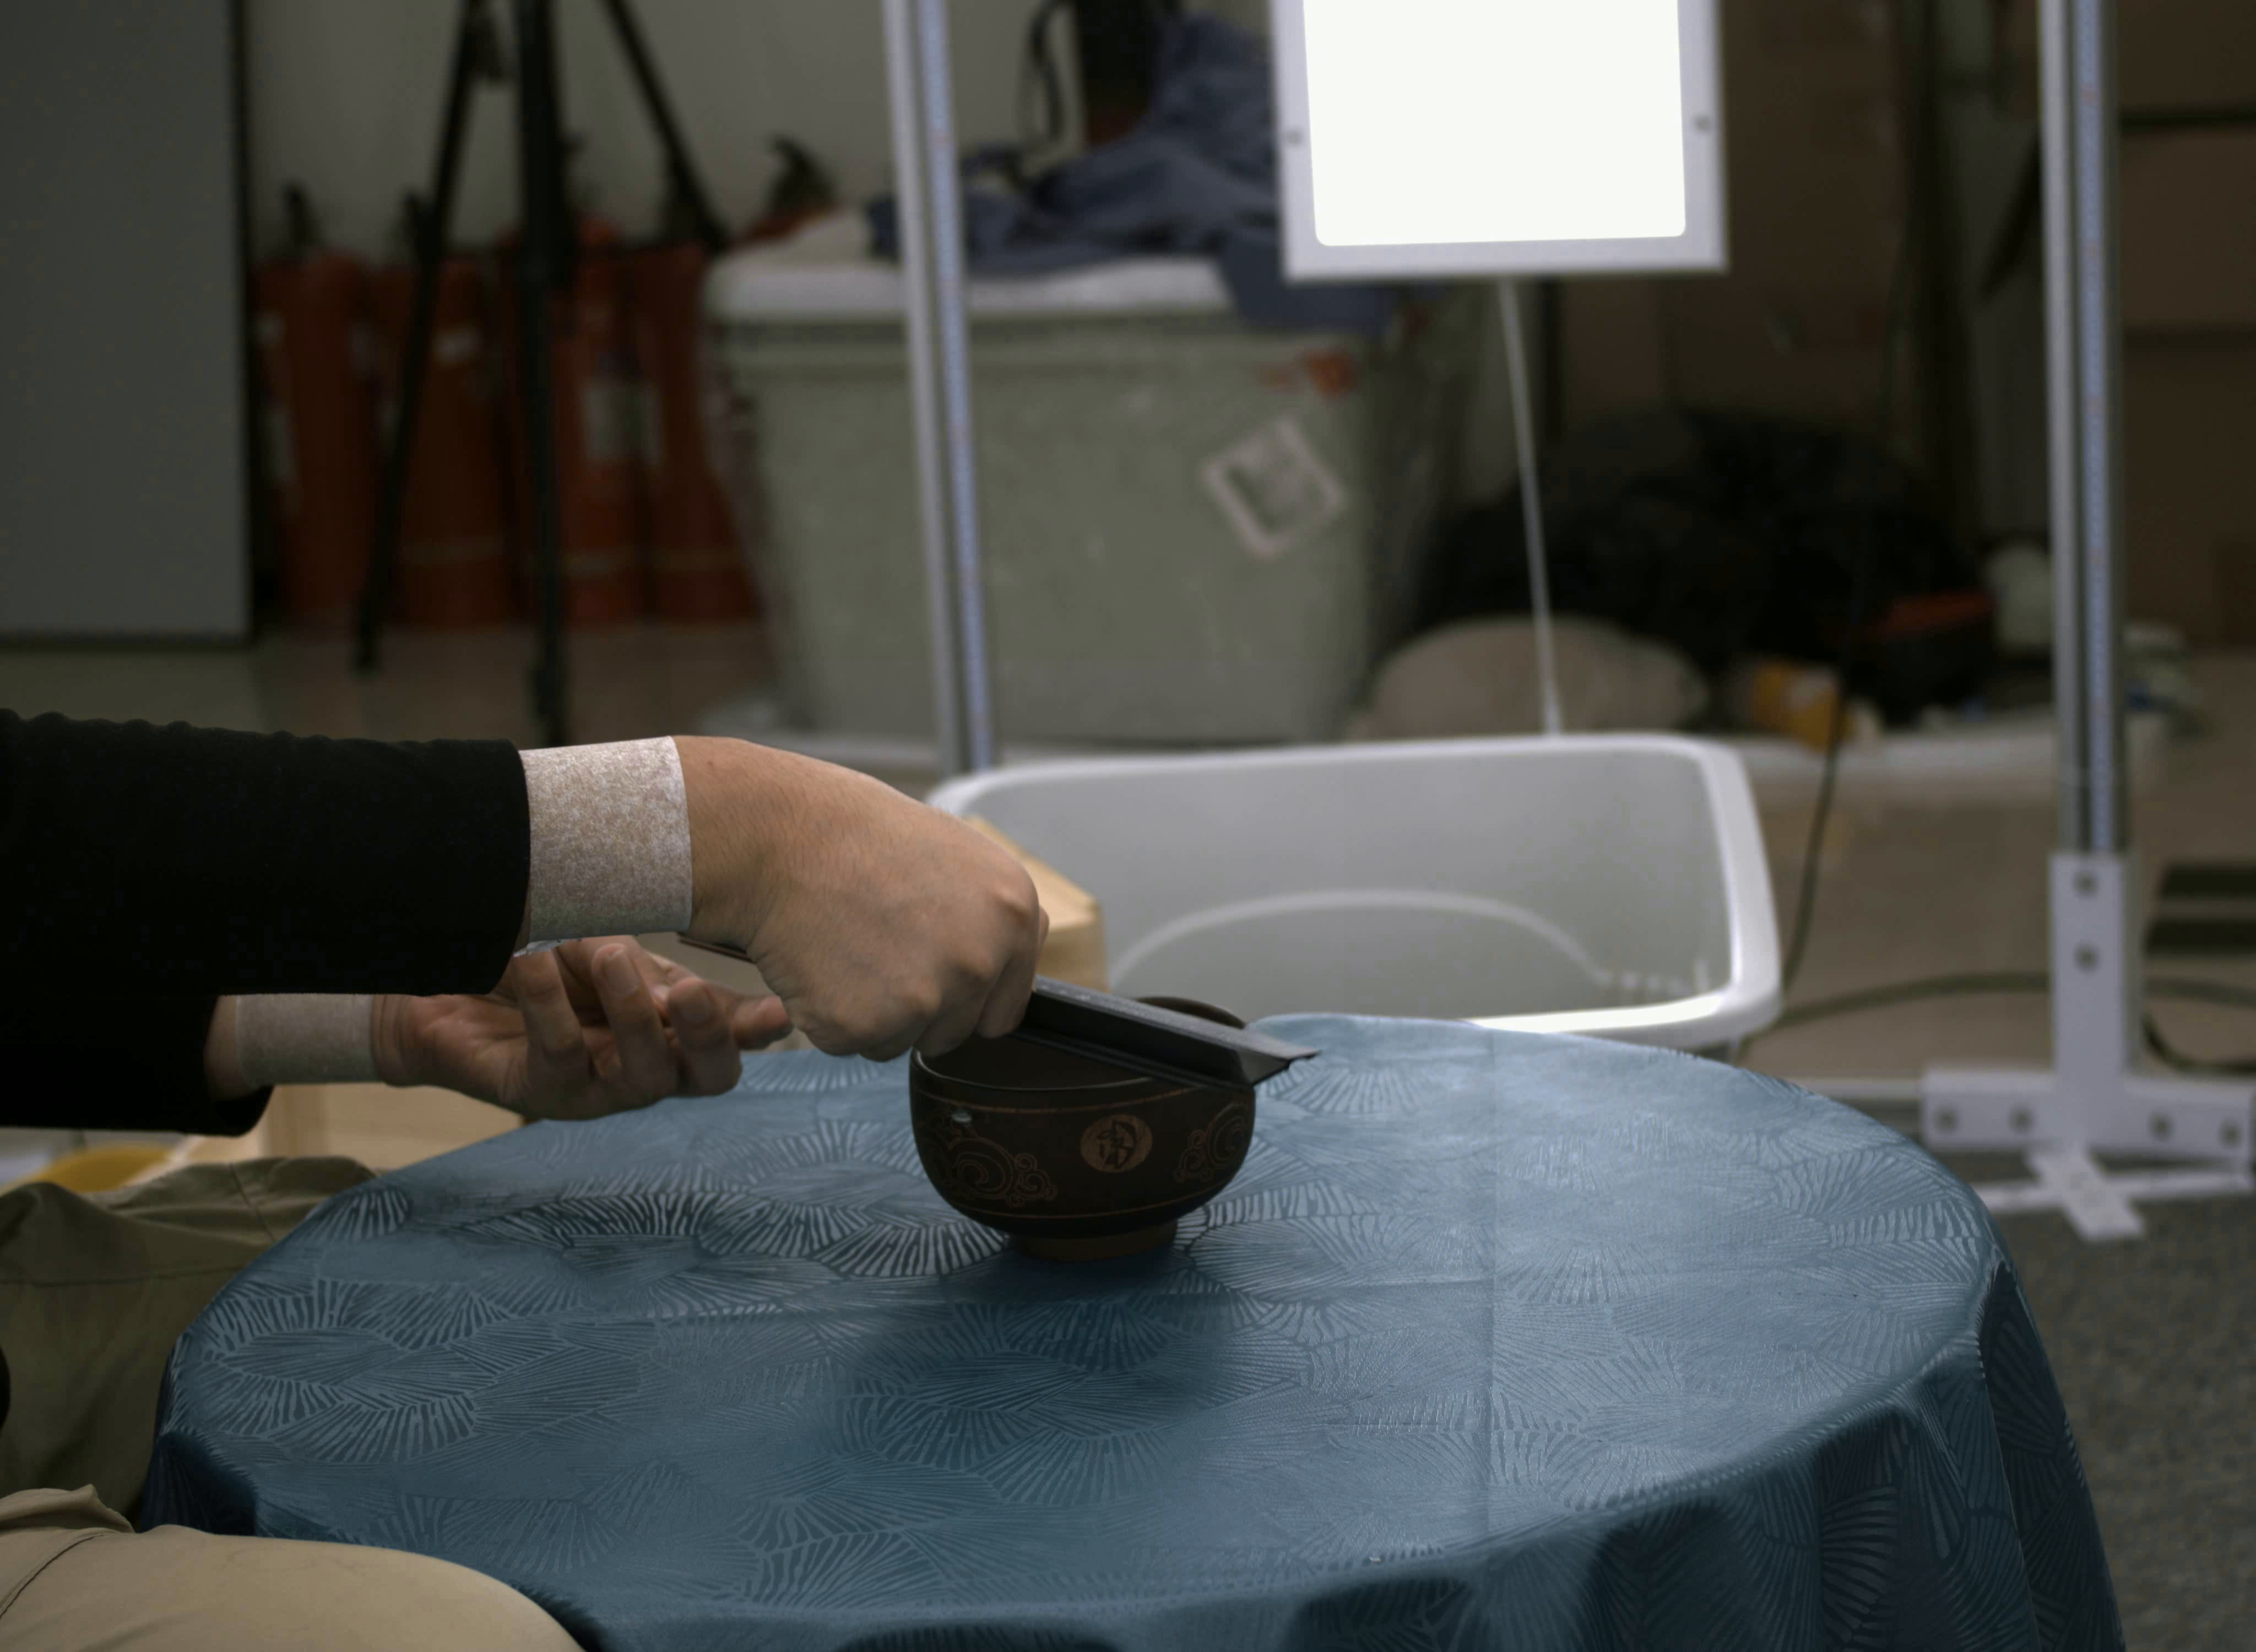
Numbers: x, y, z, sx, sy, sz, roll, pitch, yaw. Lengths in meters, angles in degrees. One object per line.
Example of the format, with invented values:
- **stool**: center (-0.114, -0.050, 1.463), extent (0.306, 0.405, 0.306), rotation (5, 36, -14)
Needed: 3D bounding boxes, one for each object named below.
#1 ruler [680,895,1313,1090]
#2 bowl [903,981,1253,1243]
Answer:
- **ruler**: center (-0.050, 0.047, 1.810), extent (0.038, 0.017, 0.319), rotation (-23, 20, -32)
- **bowl**: center (-0.017, 0.099, 1.845), extent (0.117, 0.070, 0.118), rotation (1, 12, -2)
